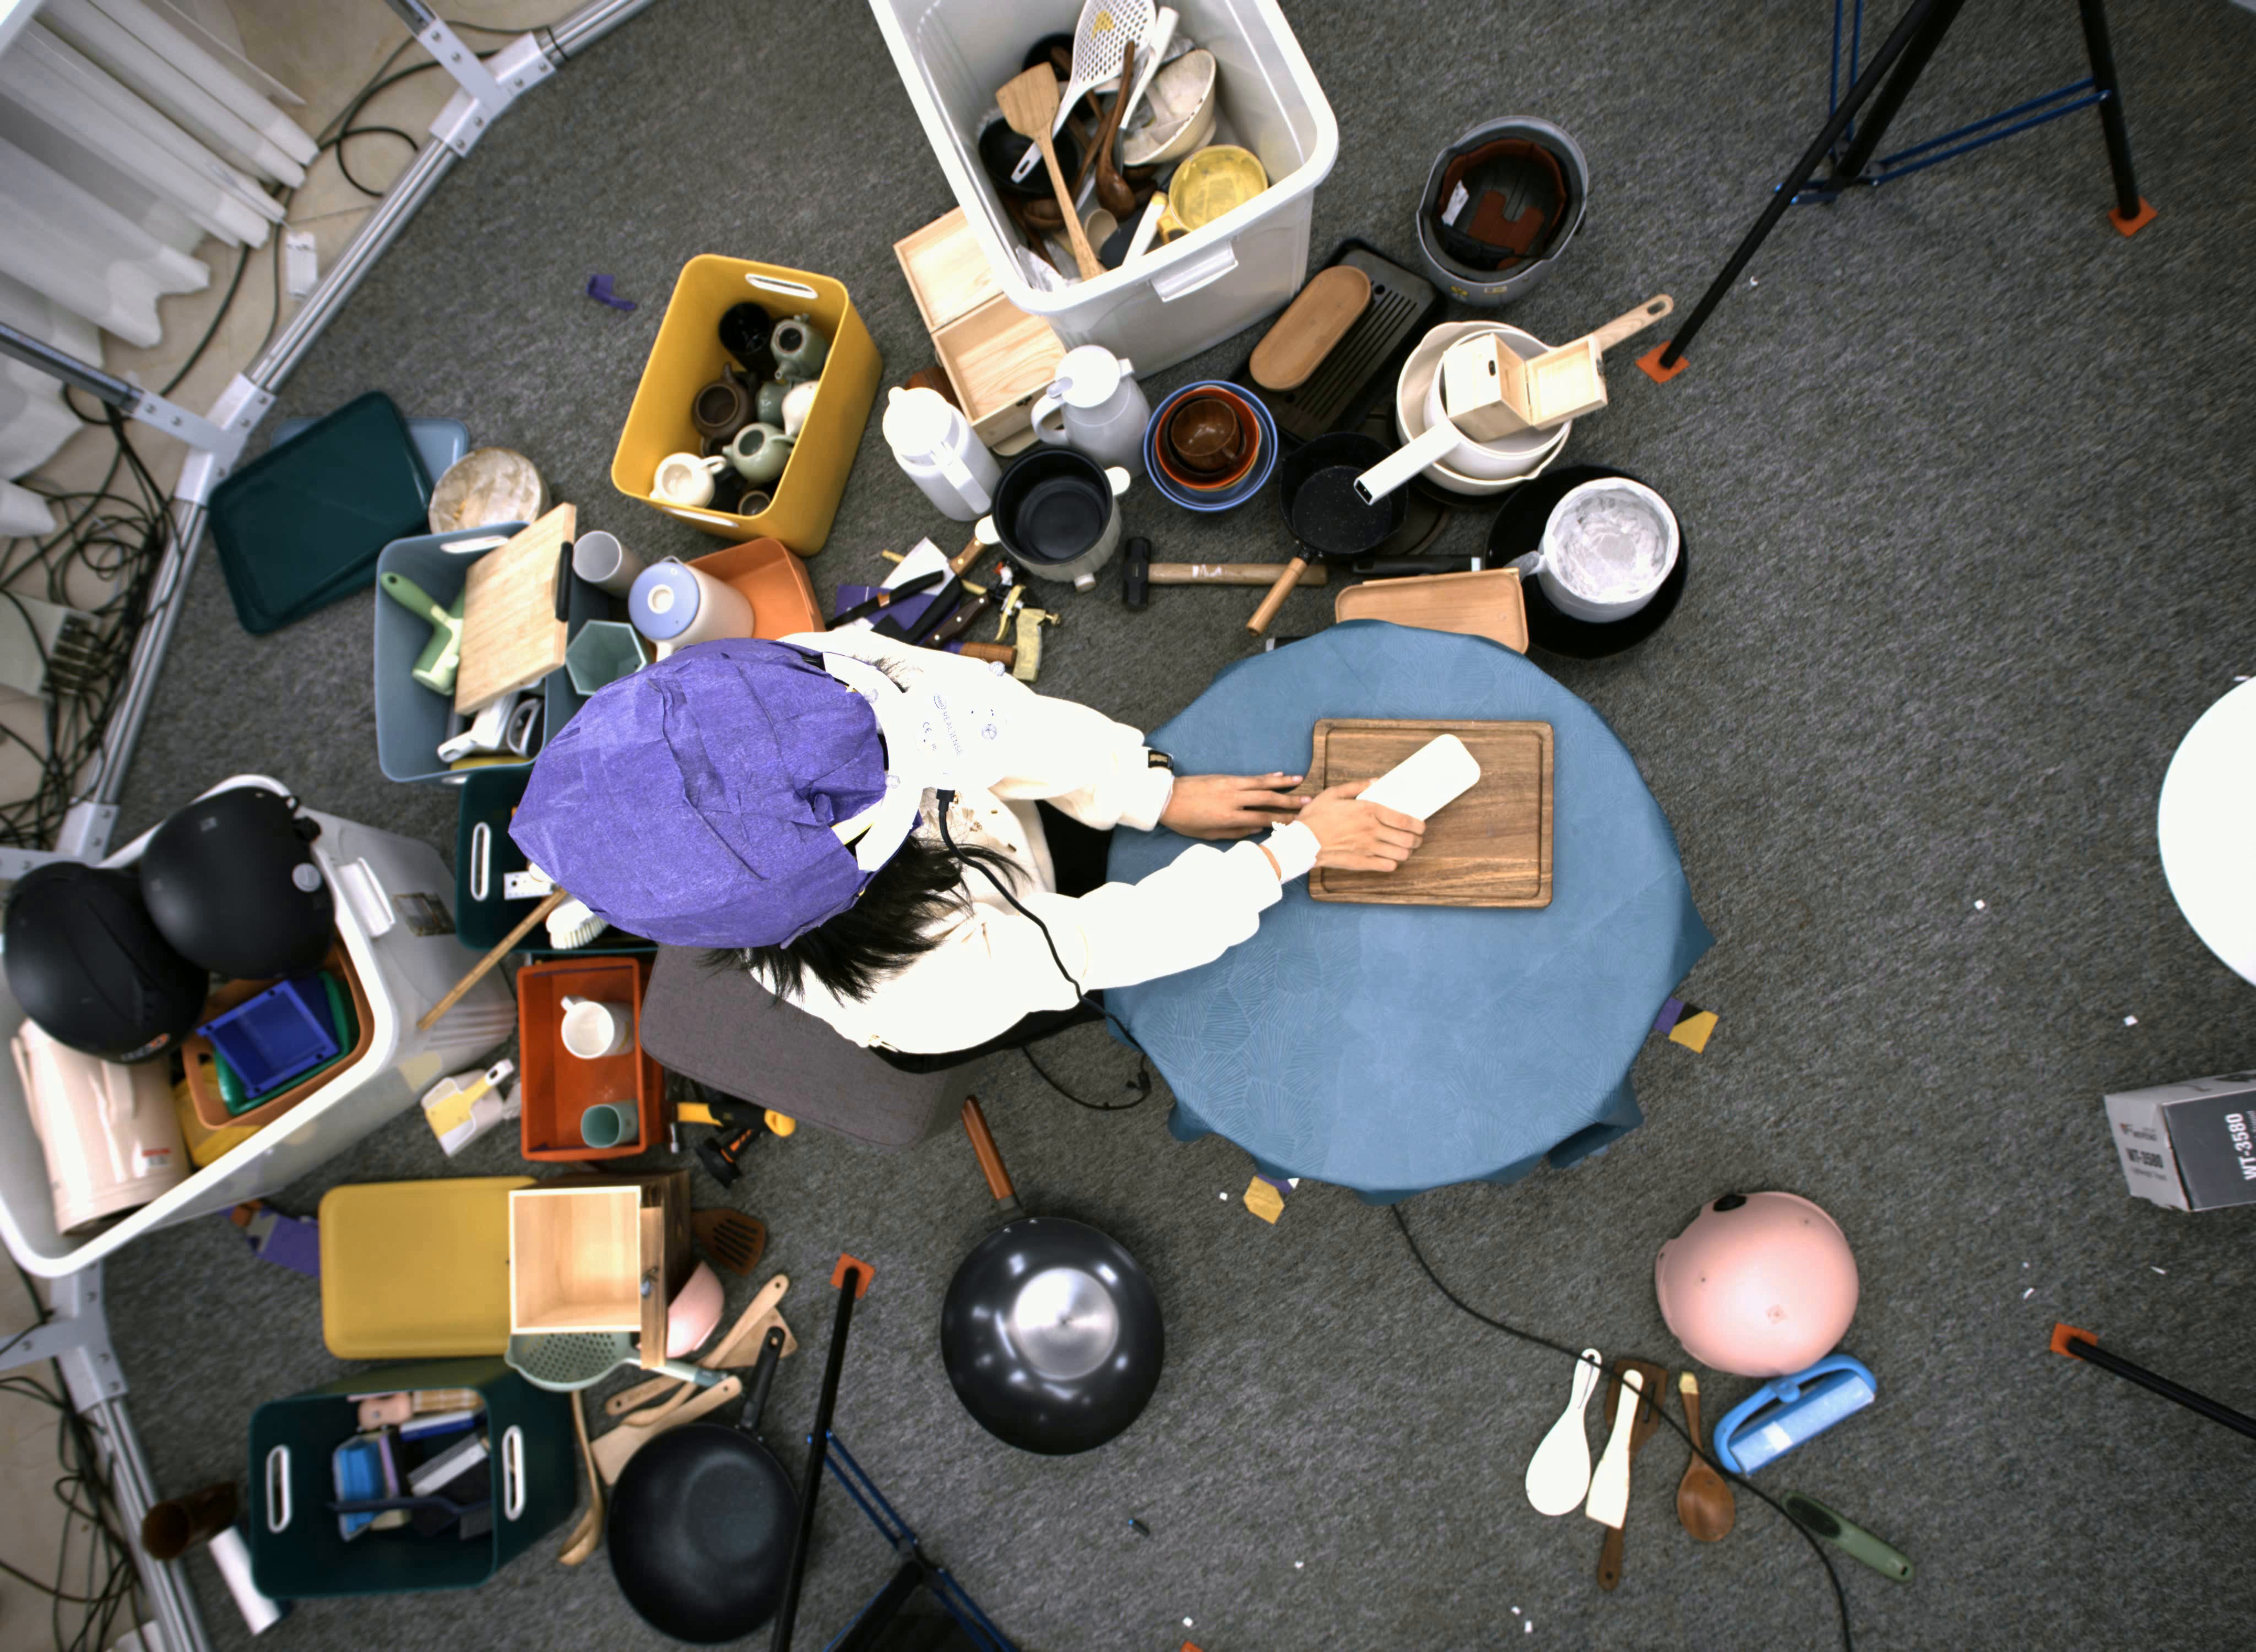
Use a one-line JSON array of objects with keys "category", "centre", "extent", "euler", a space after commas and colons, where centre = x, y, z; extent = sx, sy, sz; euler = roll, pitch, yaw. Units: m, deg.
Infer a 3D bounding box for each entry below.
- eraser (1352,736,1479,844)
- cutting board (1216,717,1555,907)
[{"category": "eraser", "centre": [0.297, -0.039, 1.430], "extent": [0.132, 0.034, 0.063], "euler": [-35, 81, 6]}, {"category": "cutting board", "centre": [0.269, -0.017, 1.455], "extent": [0.353, 0.023, 0.200], "euler": [1, 86, 10]}]
